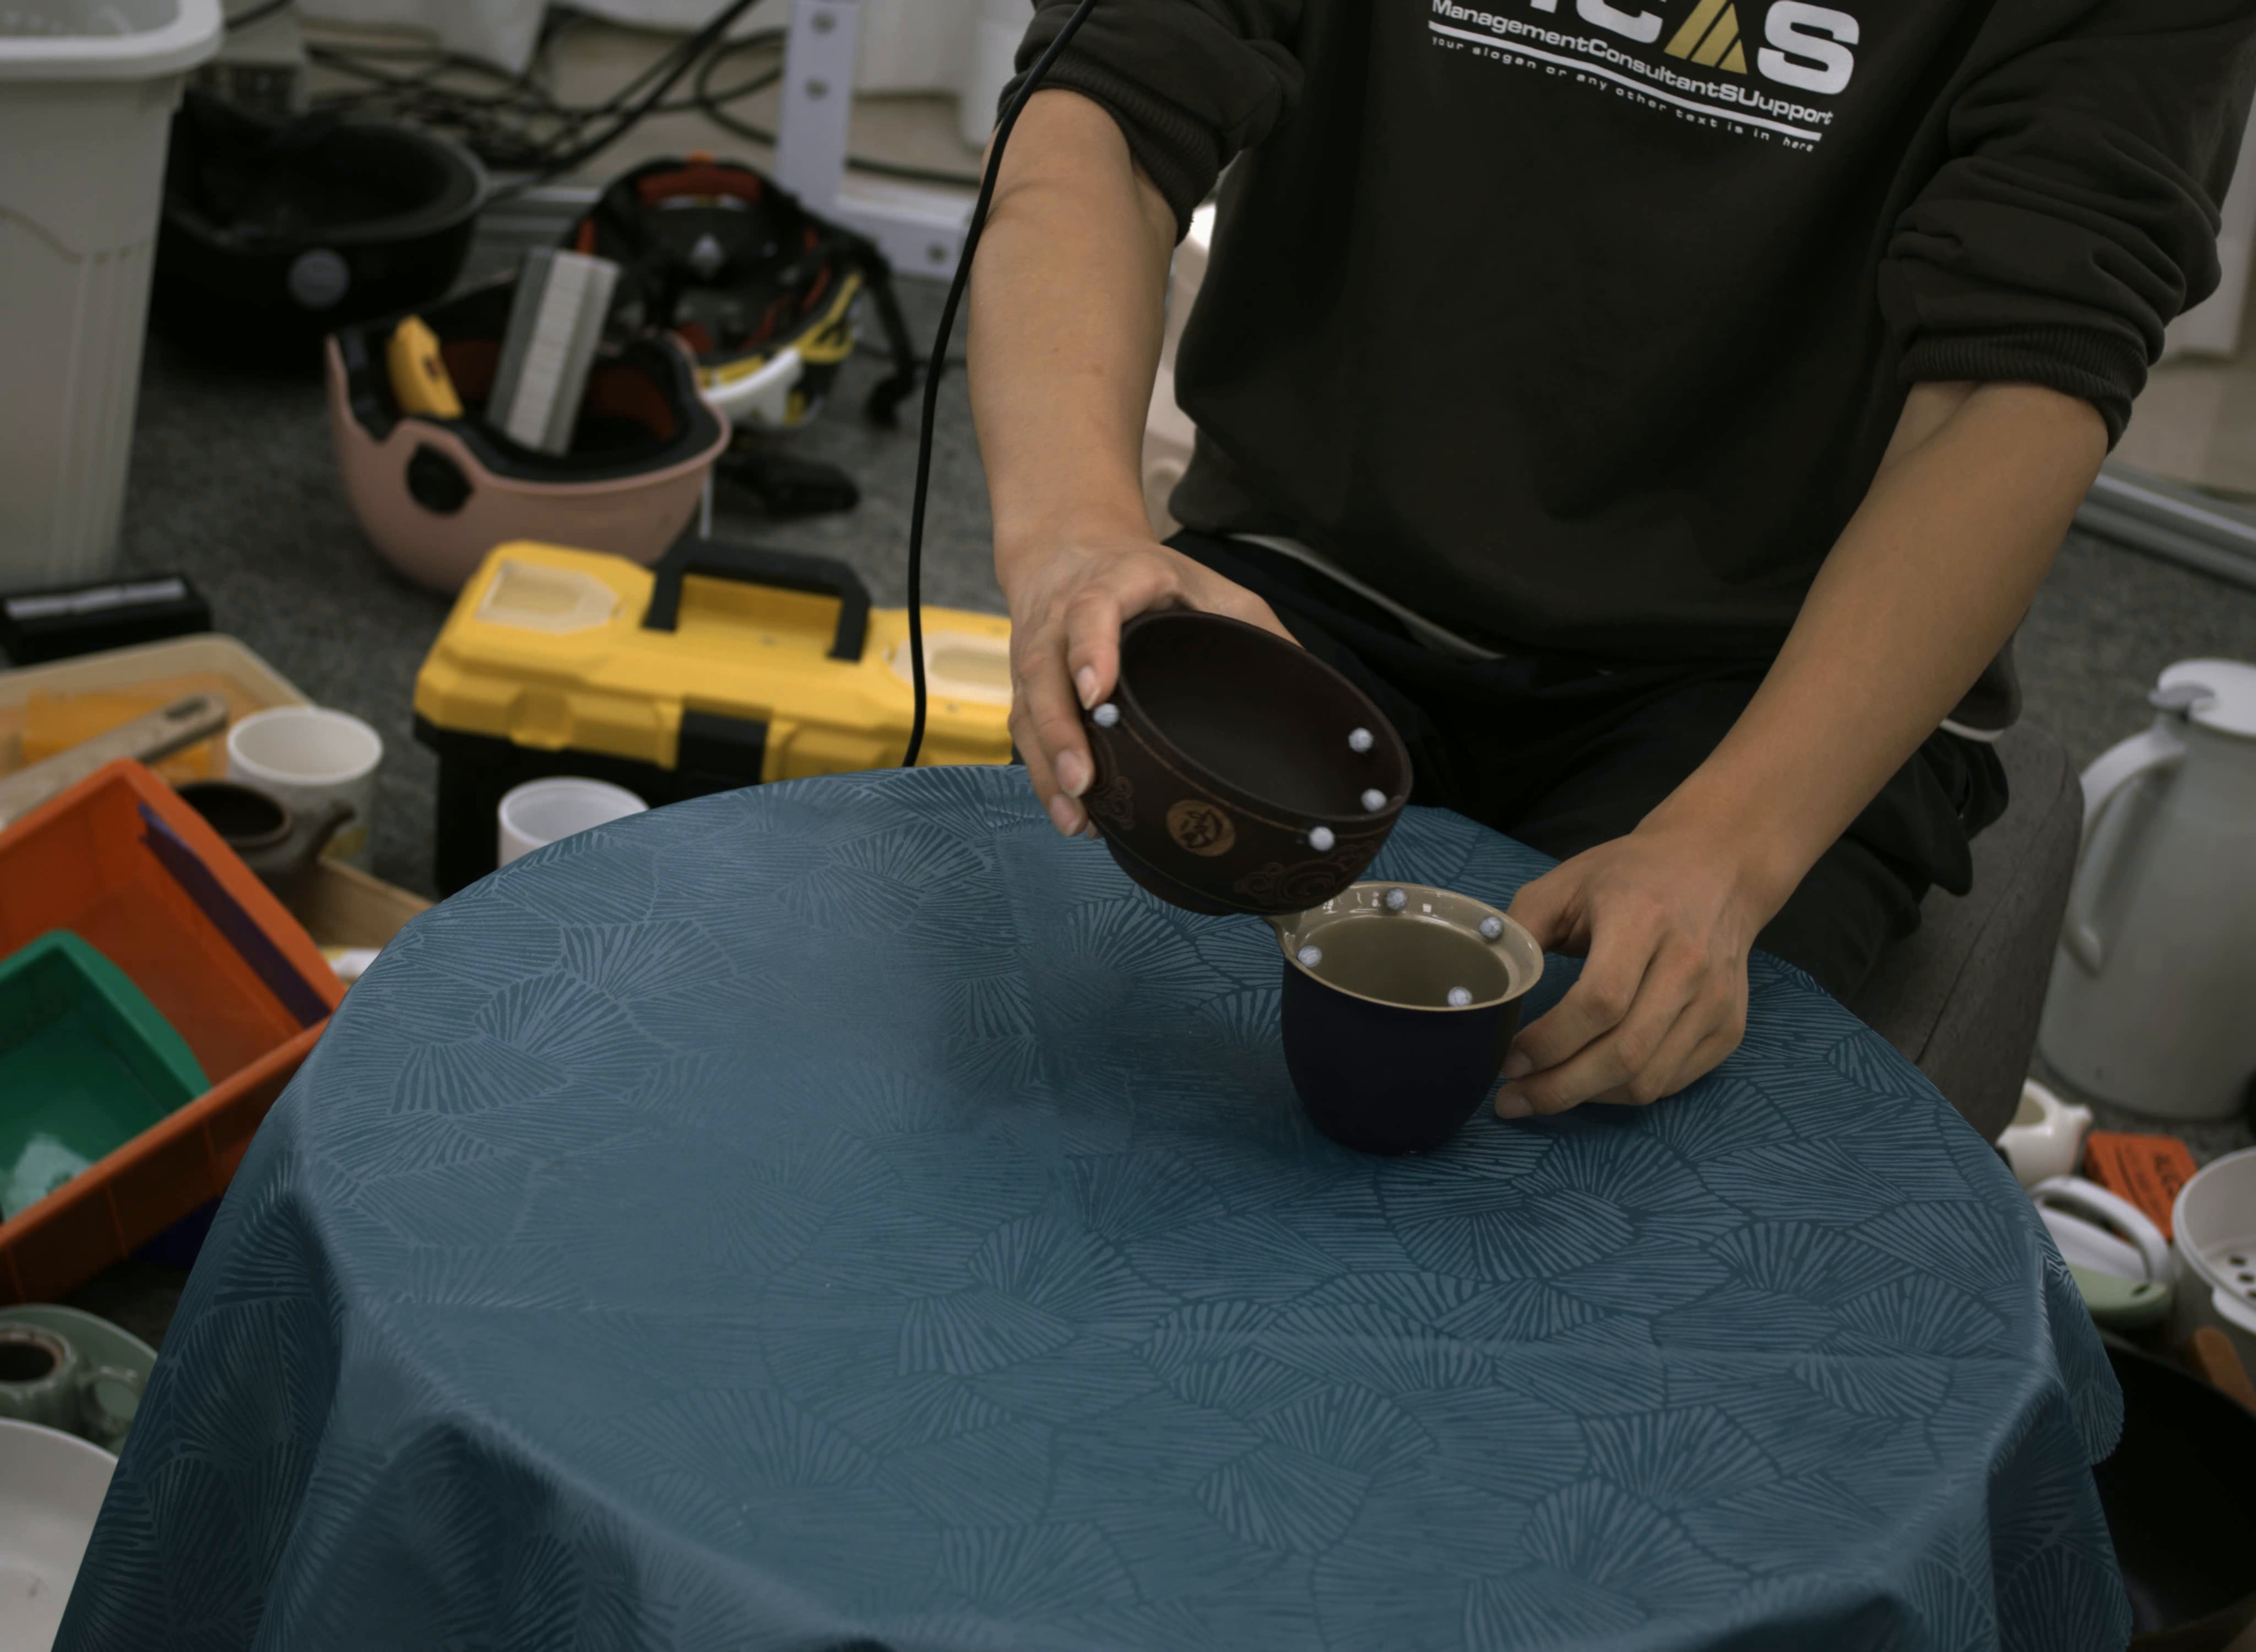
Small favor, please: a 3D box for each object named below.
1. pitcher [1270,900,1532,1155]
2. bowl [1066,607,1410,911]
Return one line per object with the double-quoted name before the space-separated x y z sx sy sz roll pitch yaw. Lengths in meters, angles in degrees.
"pitcher" 0.089 0.070 1.851 0.096 0.071 0.083 19 30 22
"bowl" 0.032 -0.014 1.841 0.117 0.070 0.119 21 29 -12
